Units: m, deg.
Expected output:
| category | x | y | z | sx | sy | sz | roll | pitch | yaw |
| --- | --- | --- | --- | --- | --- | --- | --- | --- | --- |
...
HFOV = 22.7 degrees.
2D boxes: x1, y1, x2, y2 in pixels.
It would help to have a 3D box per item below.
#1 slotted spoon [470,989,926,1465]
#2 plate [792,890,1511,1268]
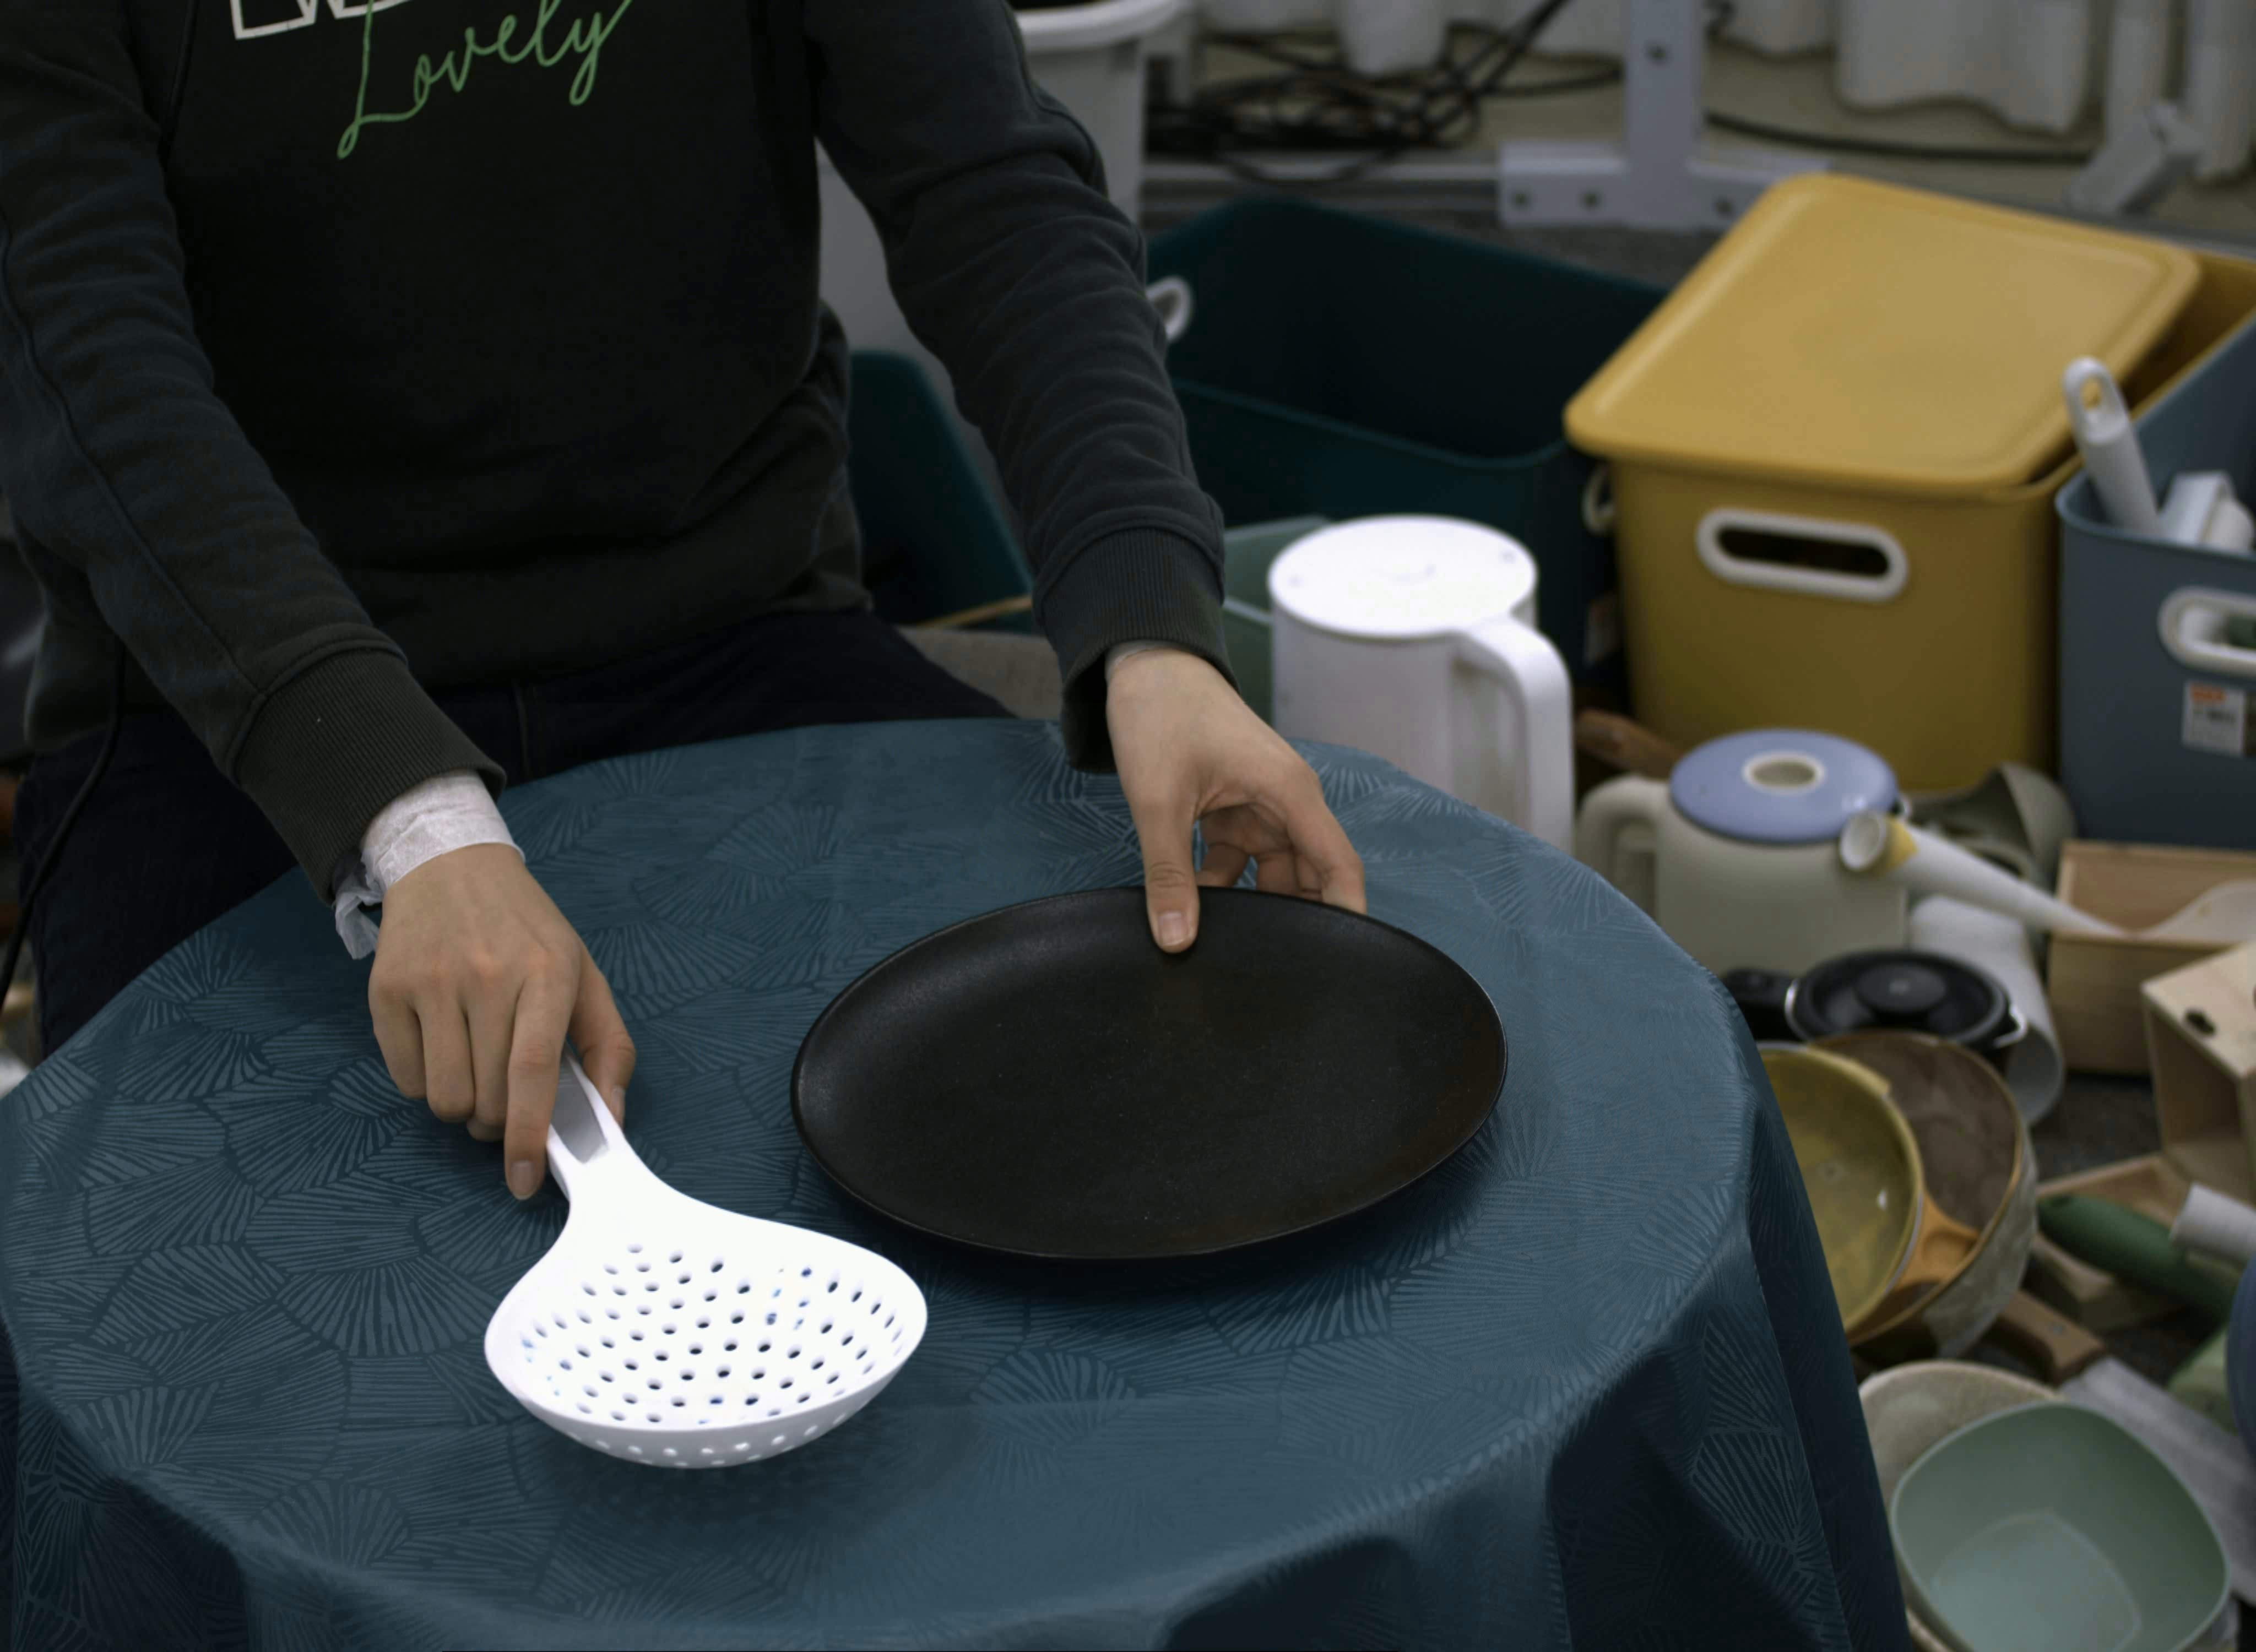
| category | x | y | z | sx | sy | sz | roll | pitch | yaw |
| --- | --- | --- | --- | --- | --- | --- | --- | --- | --- |
| slotted spoon | -0.165 | 0.124 | 1.825 | 0.136 | 0.045 | 0.352 | -7 | 26 | -17 |
| plate | 0.008 | 0.089 | 1.898 | 0.243 | 0.023 | 0.248 | -3 | 28 | 2 |
